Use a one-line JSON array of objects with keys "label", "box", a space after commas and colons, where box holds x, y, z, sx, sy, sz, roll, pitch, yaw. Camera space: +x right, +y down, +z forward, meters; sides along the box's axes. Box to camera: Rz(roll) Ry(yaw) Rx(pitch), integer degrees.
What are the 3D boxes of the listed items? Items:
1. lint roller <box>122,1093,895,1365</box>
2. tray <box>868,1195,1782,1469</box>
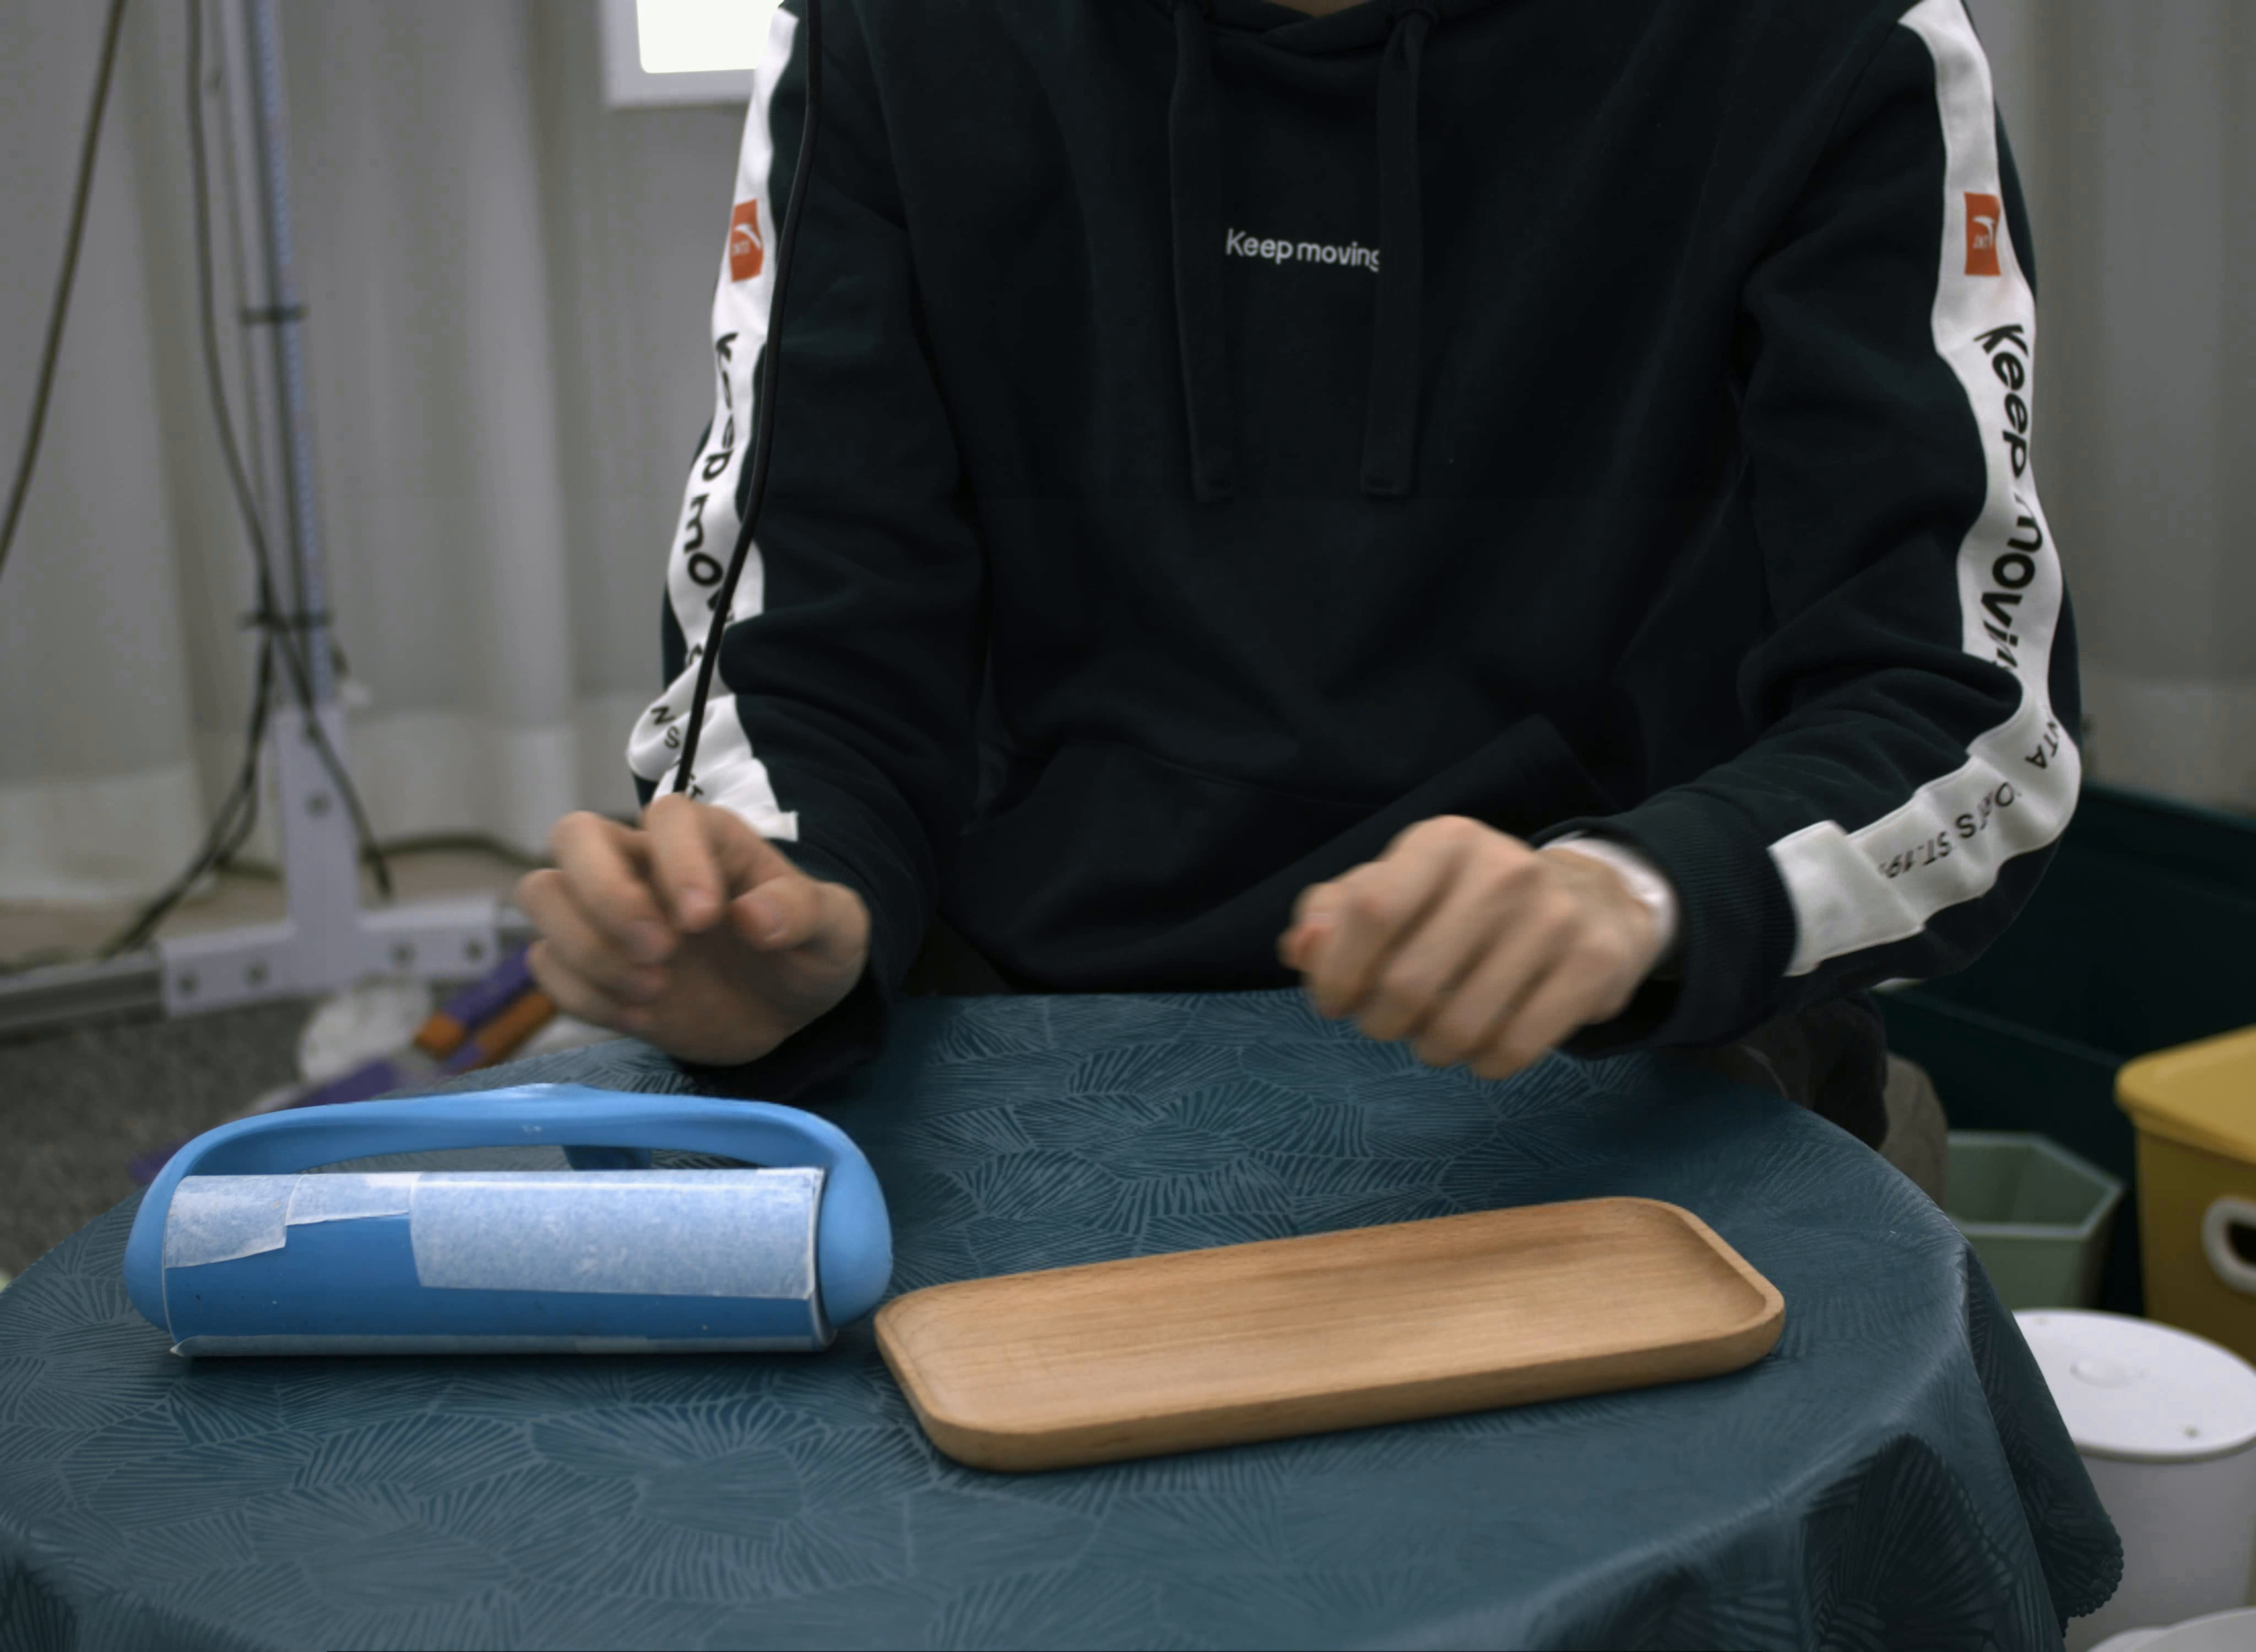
[{"label": "lint roller", "box": [-0.177, 0.111, 1.653, 0.228, 0.067, 0.181, -3, 16, 5]}, {"label": "tray", "box": [0.055, 0.144, 1.561, 0.249, 0.023, 0.131, -7, 13, -11]}]
